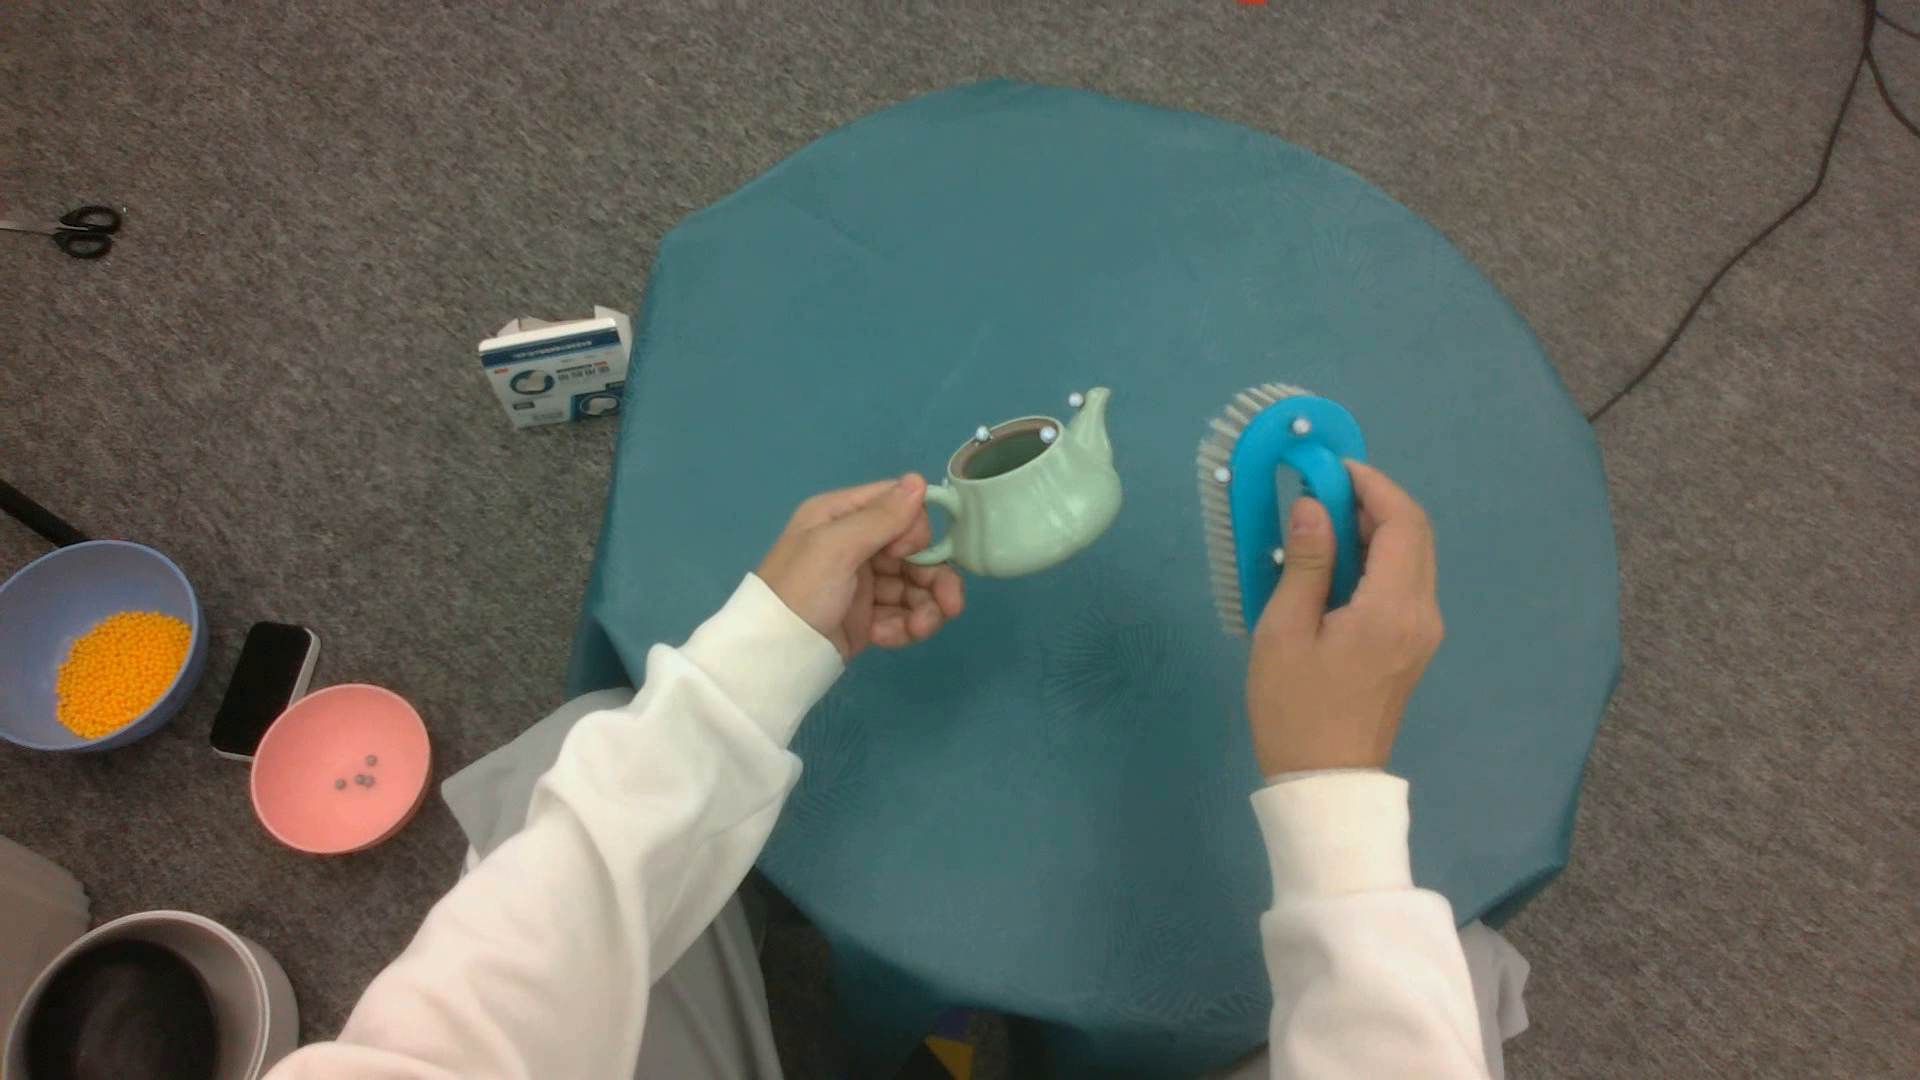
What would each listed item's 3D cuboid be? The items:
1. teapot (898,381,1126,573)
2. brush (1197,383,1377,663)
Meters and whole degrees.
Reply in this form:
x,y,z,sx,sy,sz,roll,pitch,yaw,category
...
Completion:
x,y,z,sx,sy,sz,roll,pitch,yaw,category
0.031,-0.024,0.706,0.137,0.061,0.096,-32,29,-16,teapot
0.170,-0.006,0.670,0.084,0.064,0.141,-19,111,-21,brush
